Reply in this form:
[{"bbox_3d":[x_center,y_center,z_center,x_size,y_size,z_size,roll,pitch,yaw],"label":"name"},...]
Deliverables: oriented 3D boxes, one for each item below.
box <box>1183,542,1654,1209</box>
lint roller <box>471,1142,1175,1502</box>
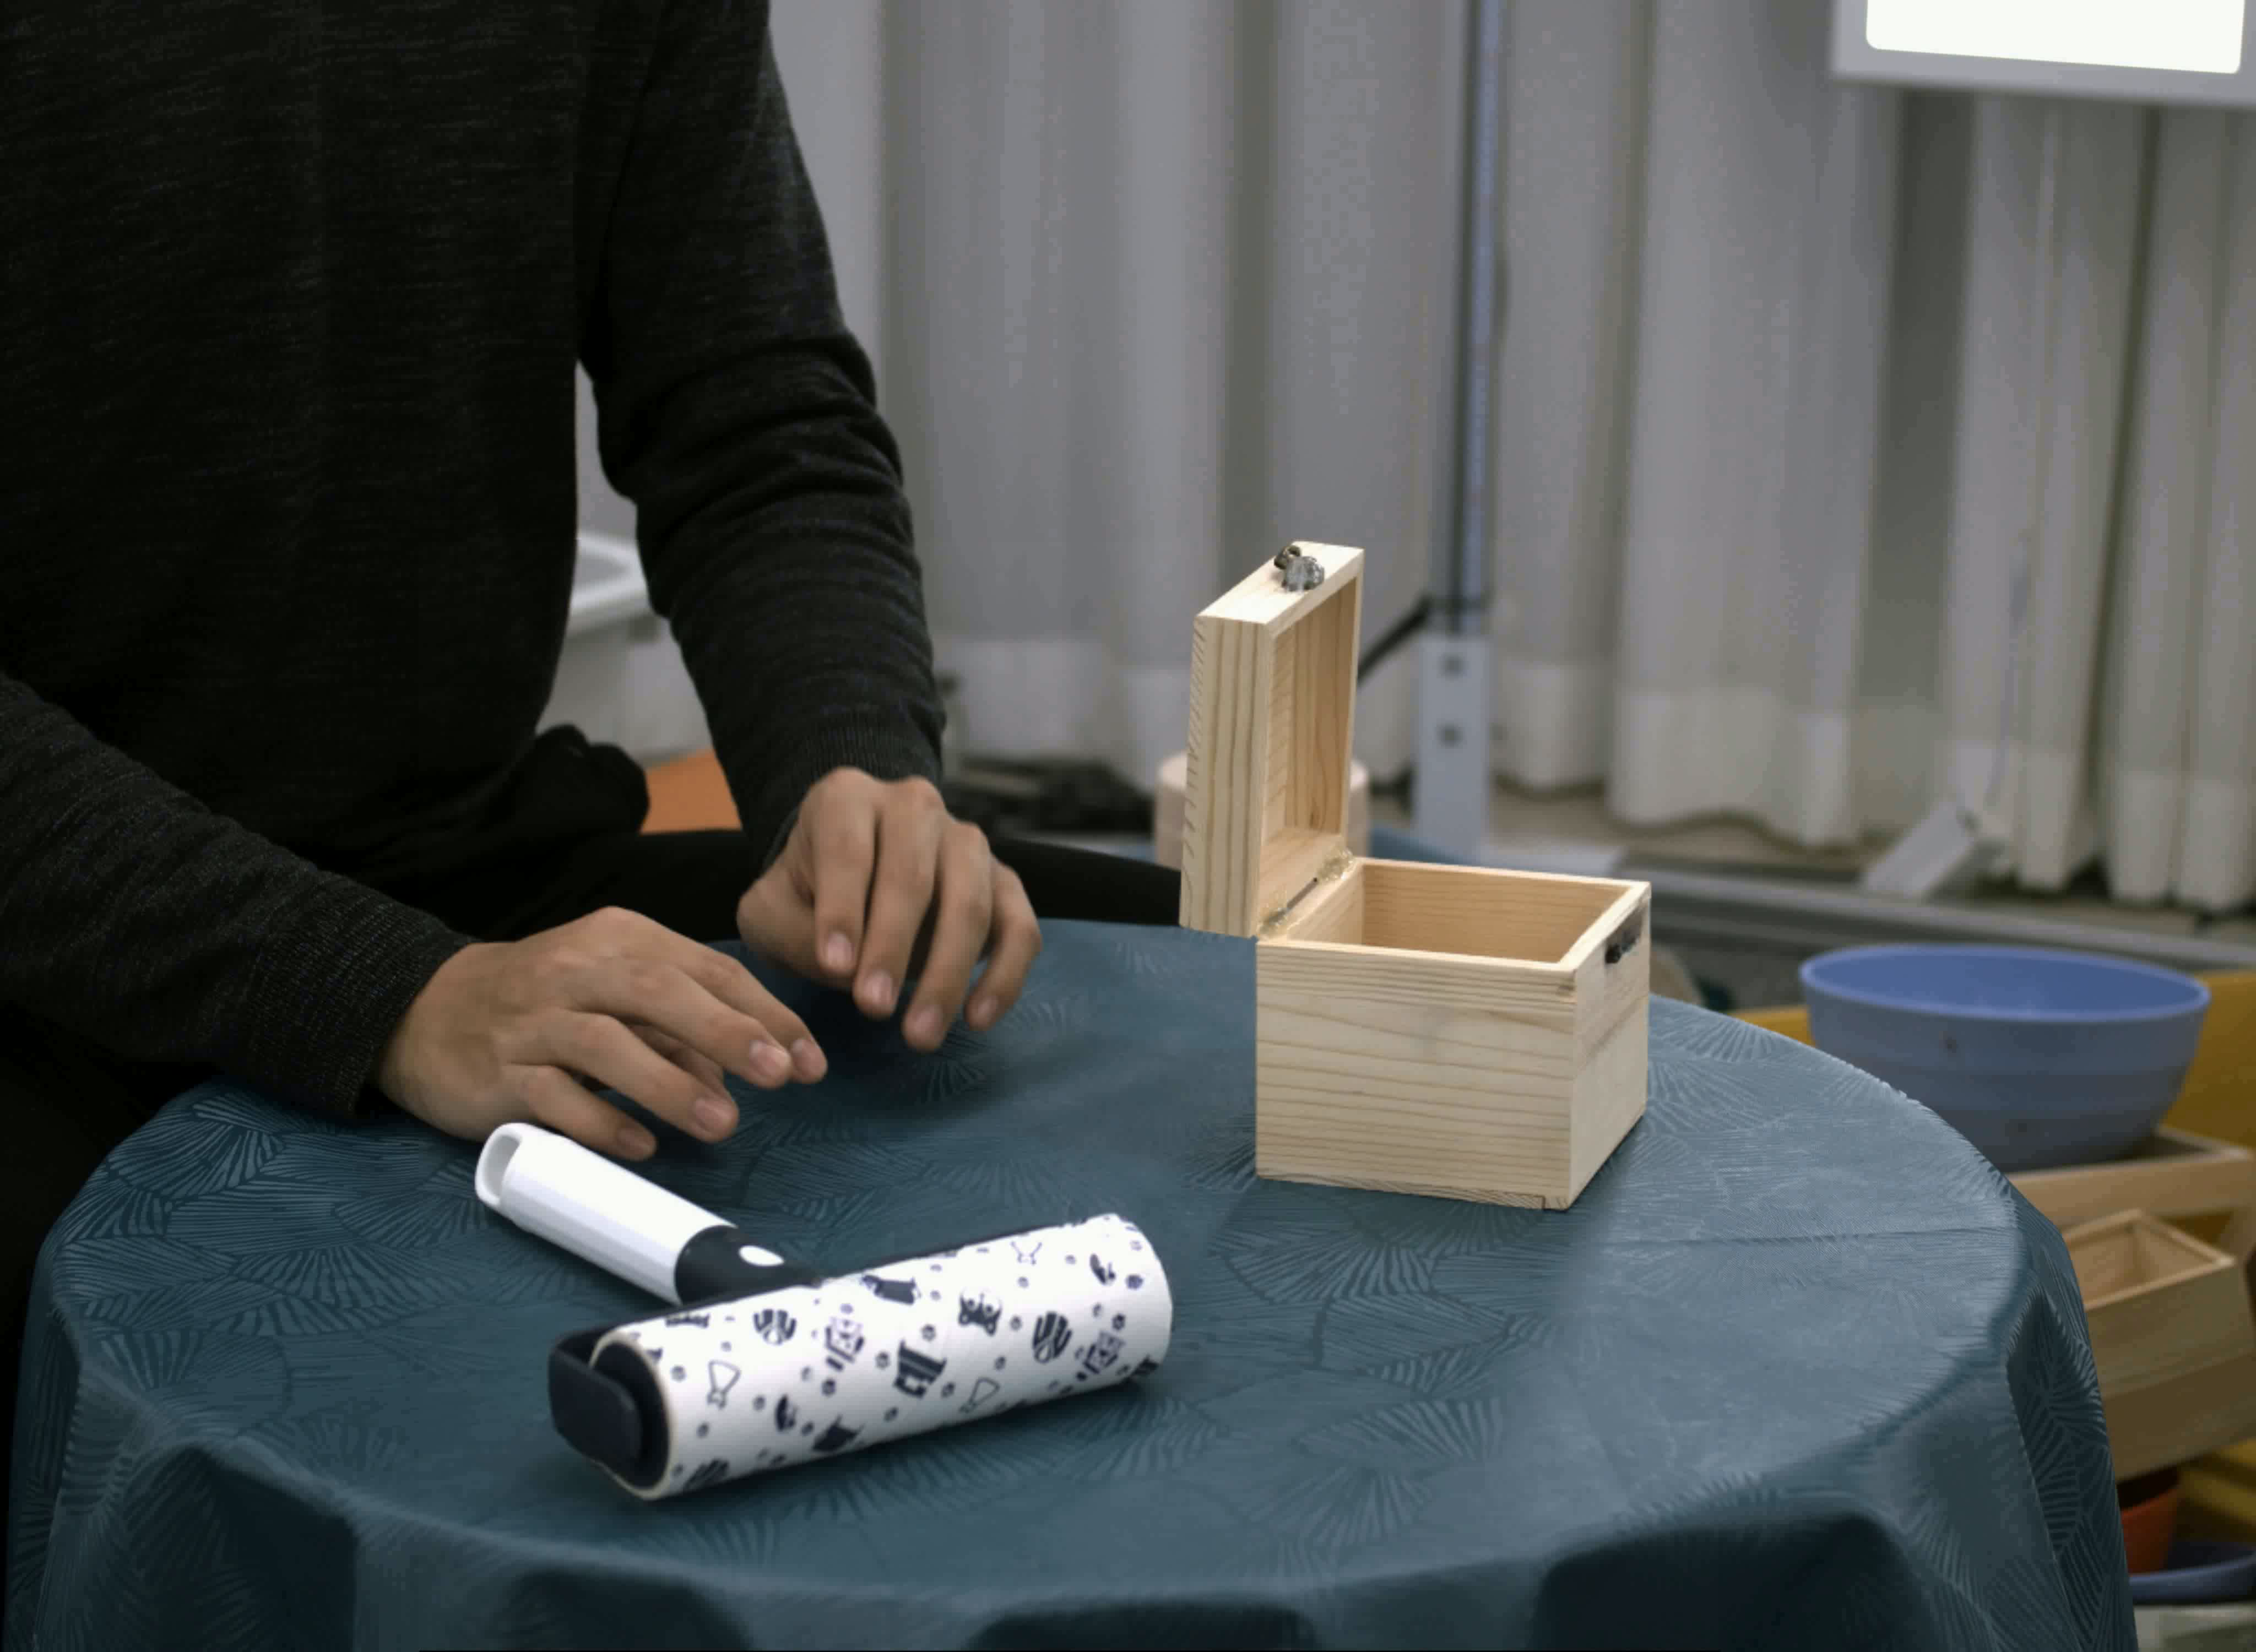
[{"bbox_3d":[0.095,0.012,1.641,0.133,0.186,0.102,5,16,17],"label":"box"},{"bbox_3d":[-0.125,0.122,1.501,0.177,0.051,0.244,-11,19,-34],"label":"lint roller"}]
